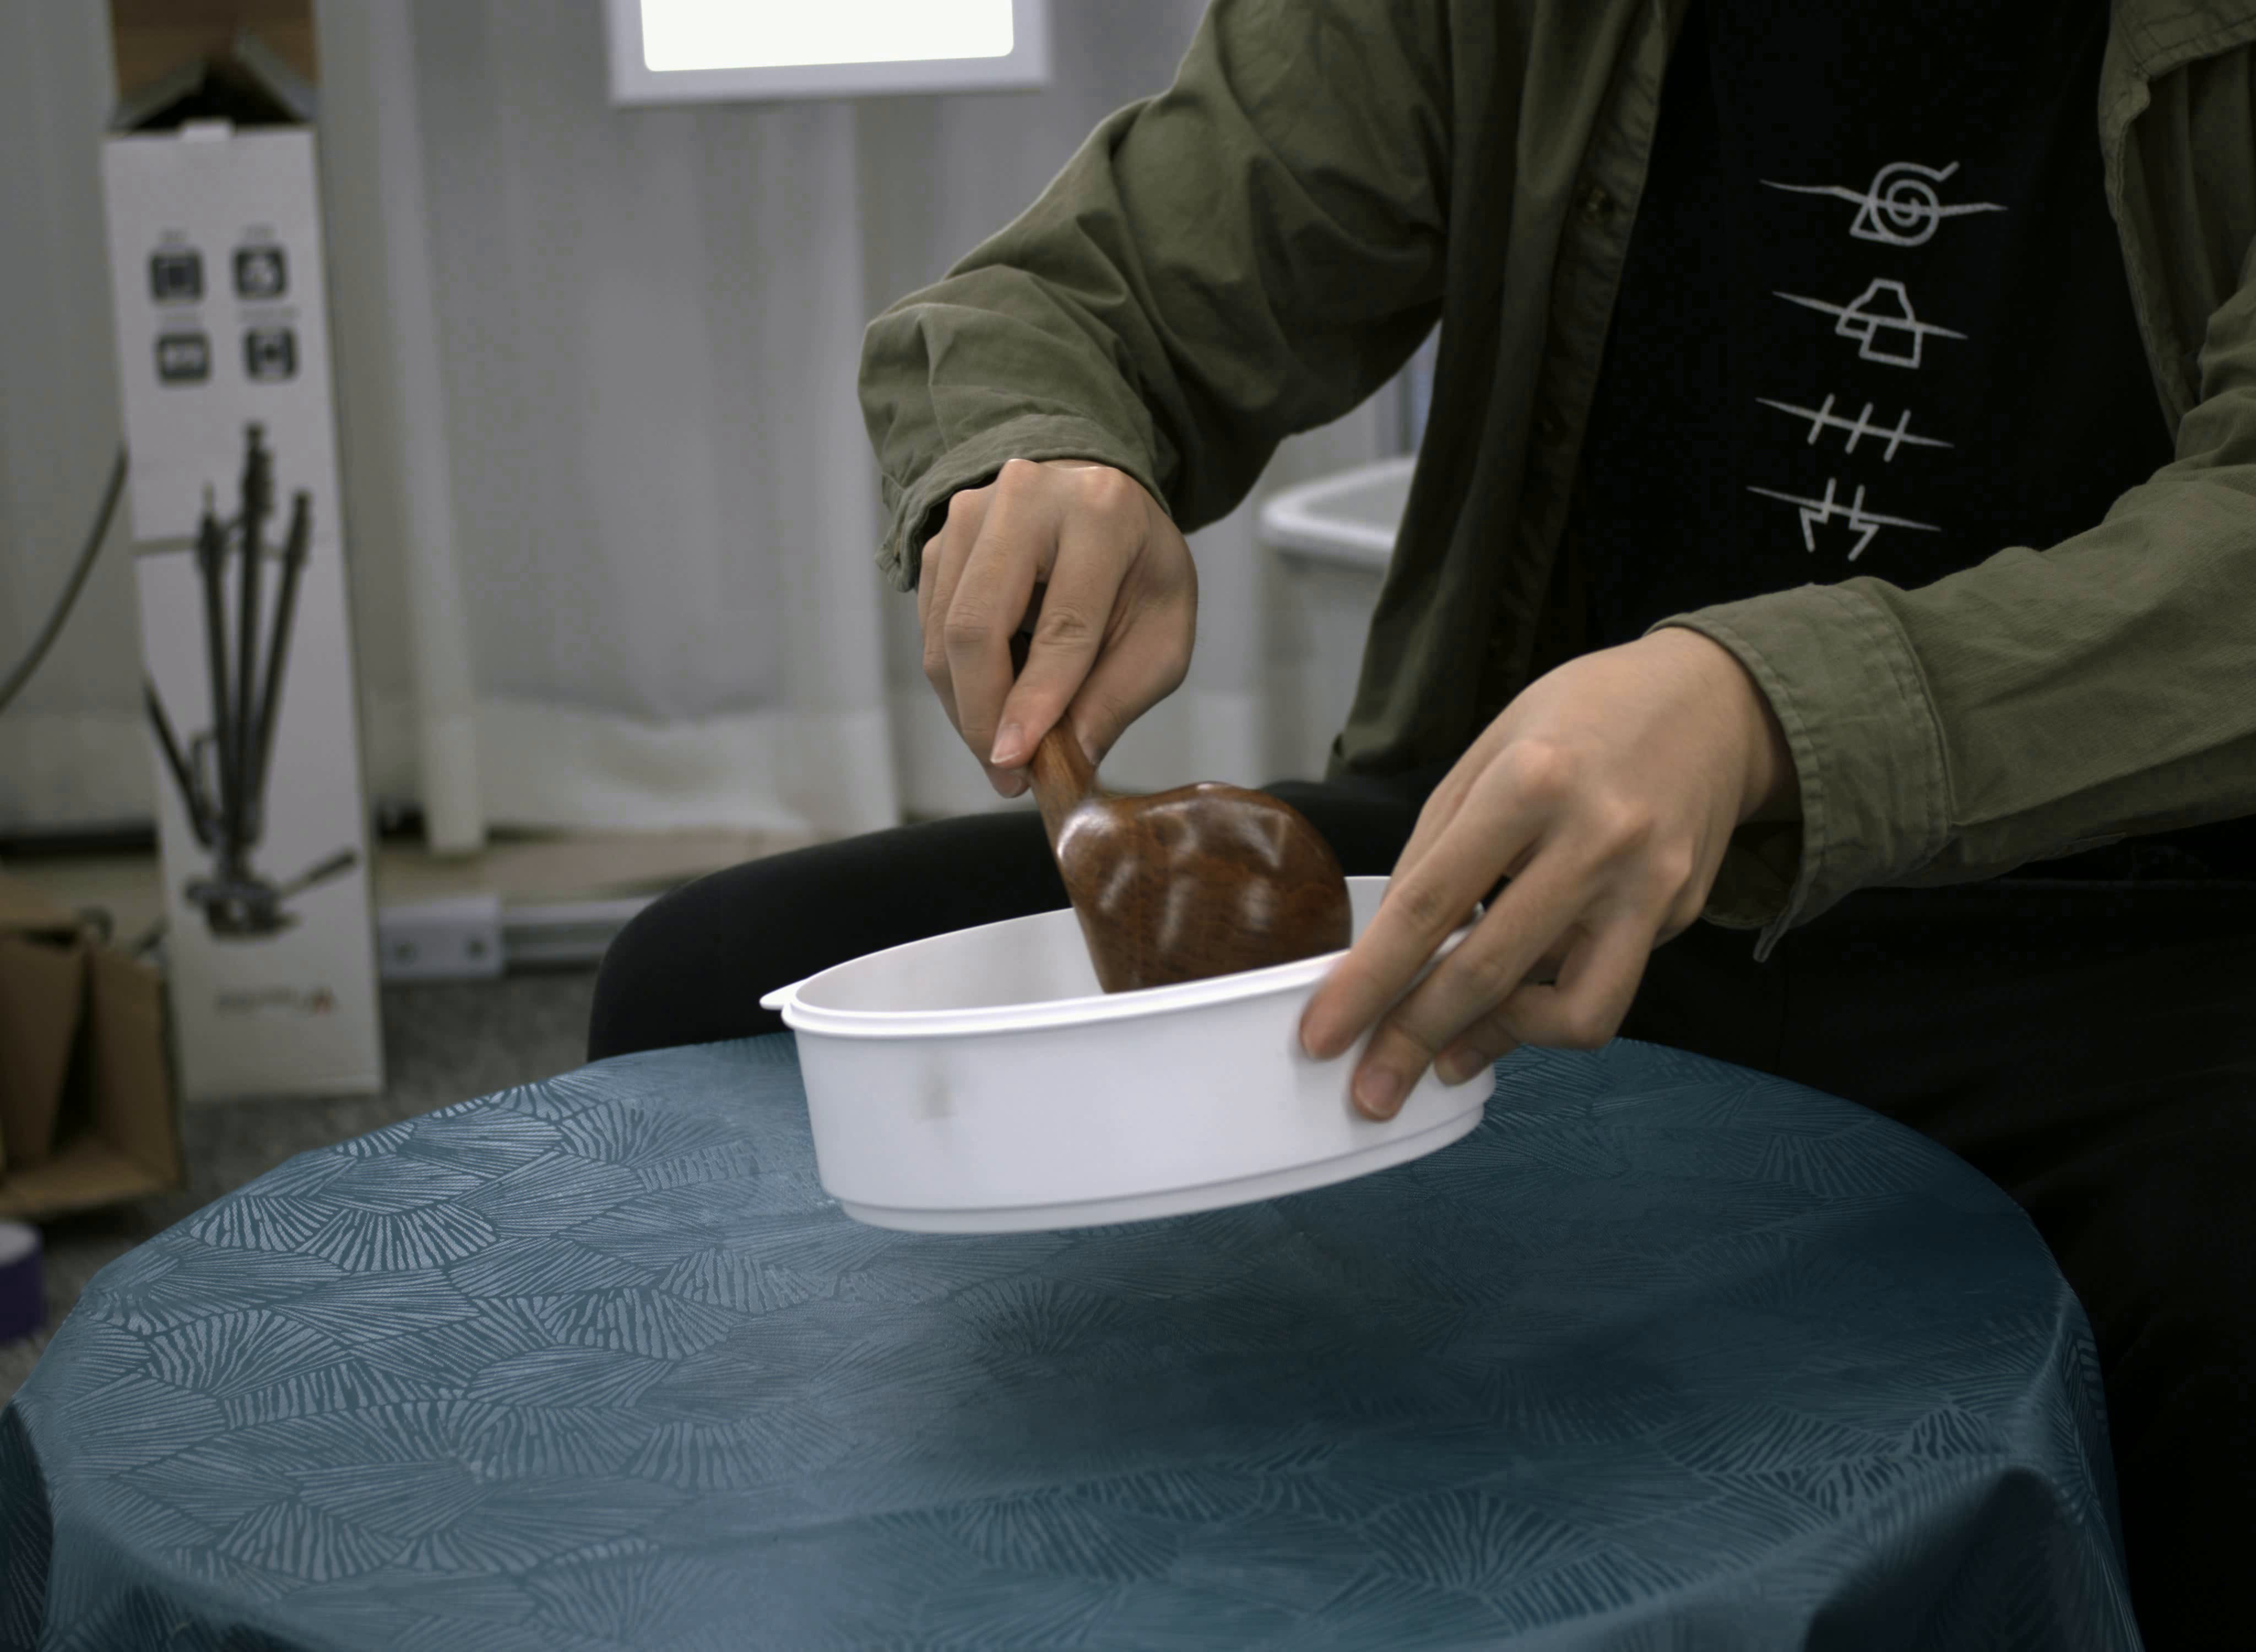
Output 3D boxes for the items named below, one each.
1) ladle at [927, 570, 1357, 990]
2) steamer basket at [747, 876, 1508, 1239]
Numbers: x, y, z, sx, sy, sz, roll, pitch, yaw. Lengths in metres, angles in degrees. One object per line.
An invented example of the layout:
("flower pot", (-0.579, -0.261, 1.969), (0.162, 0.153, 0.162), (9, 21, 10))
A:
("ladle", (0.002, -0.014, 1.653), (0.076, 0.081, 0.277), (25, 14, -21))
("steamer basket", (0.002, 0.066, 1.552), (0.230, 0.069, 0.202), (-5, 8, 30))
